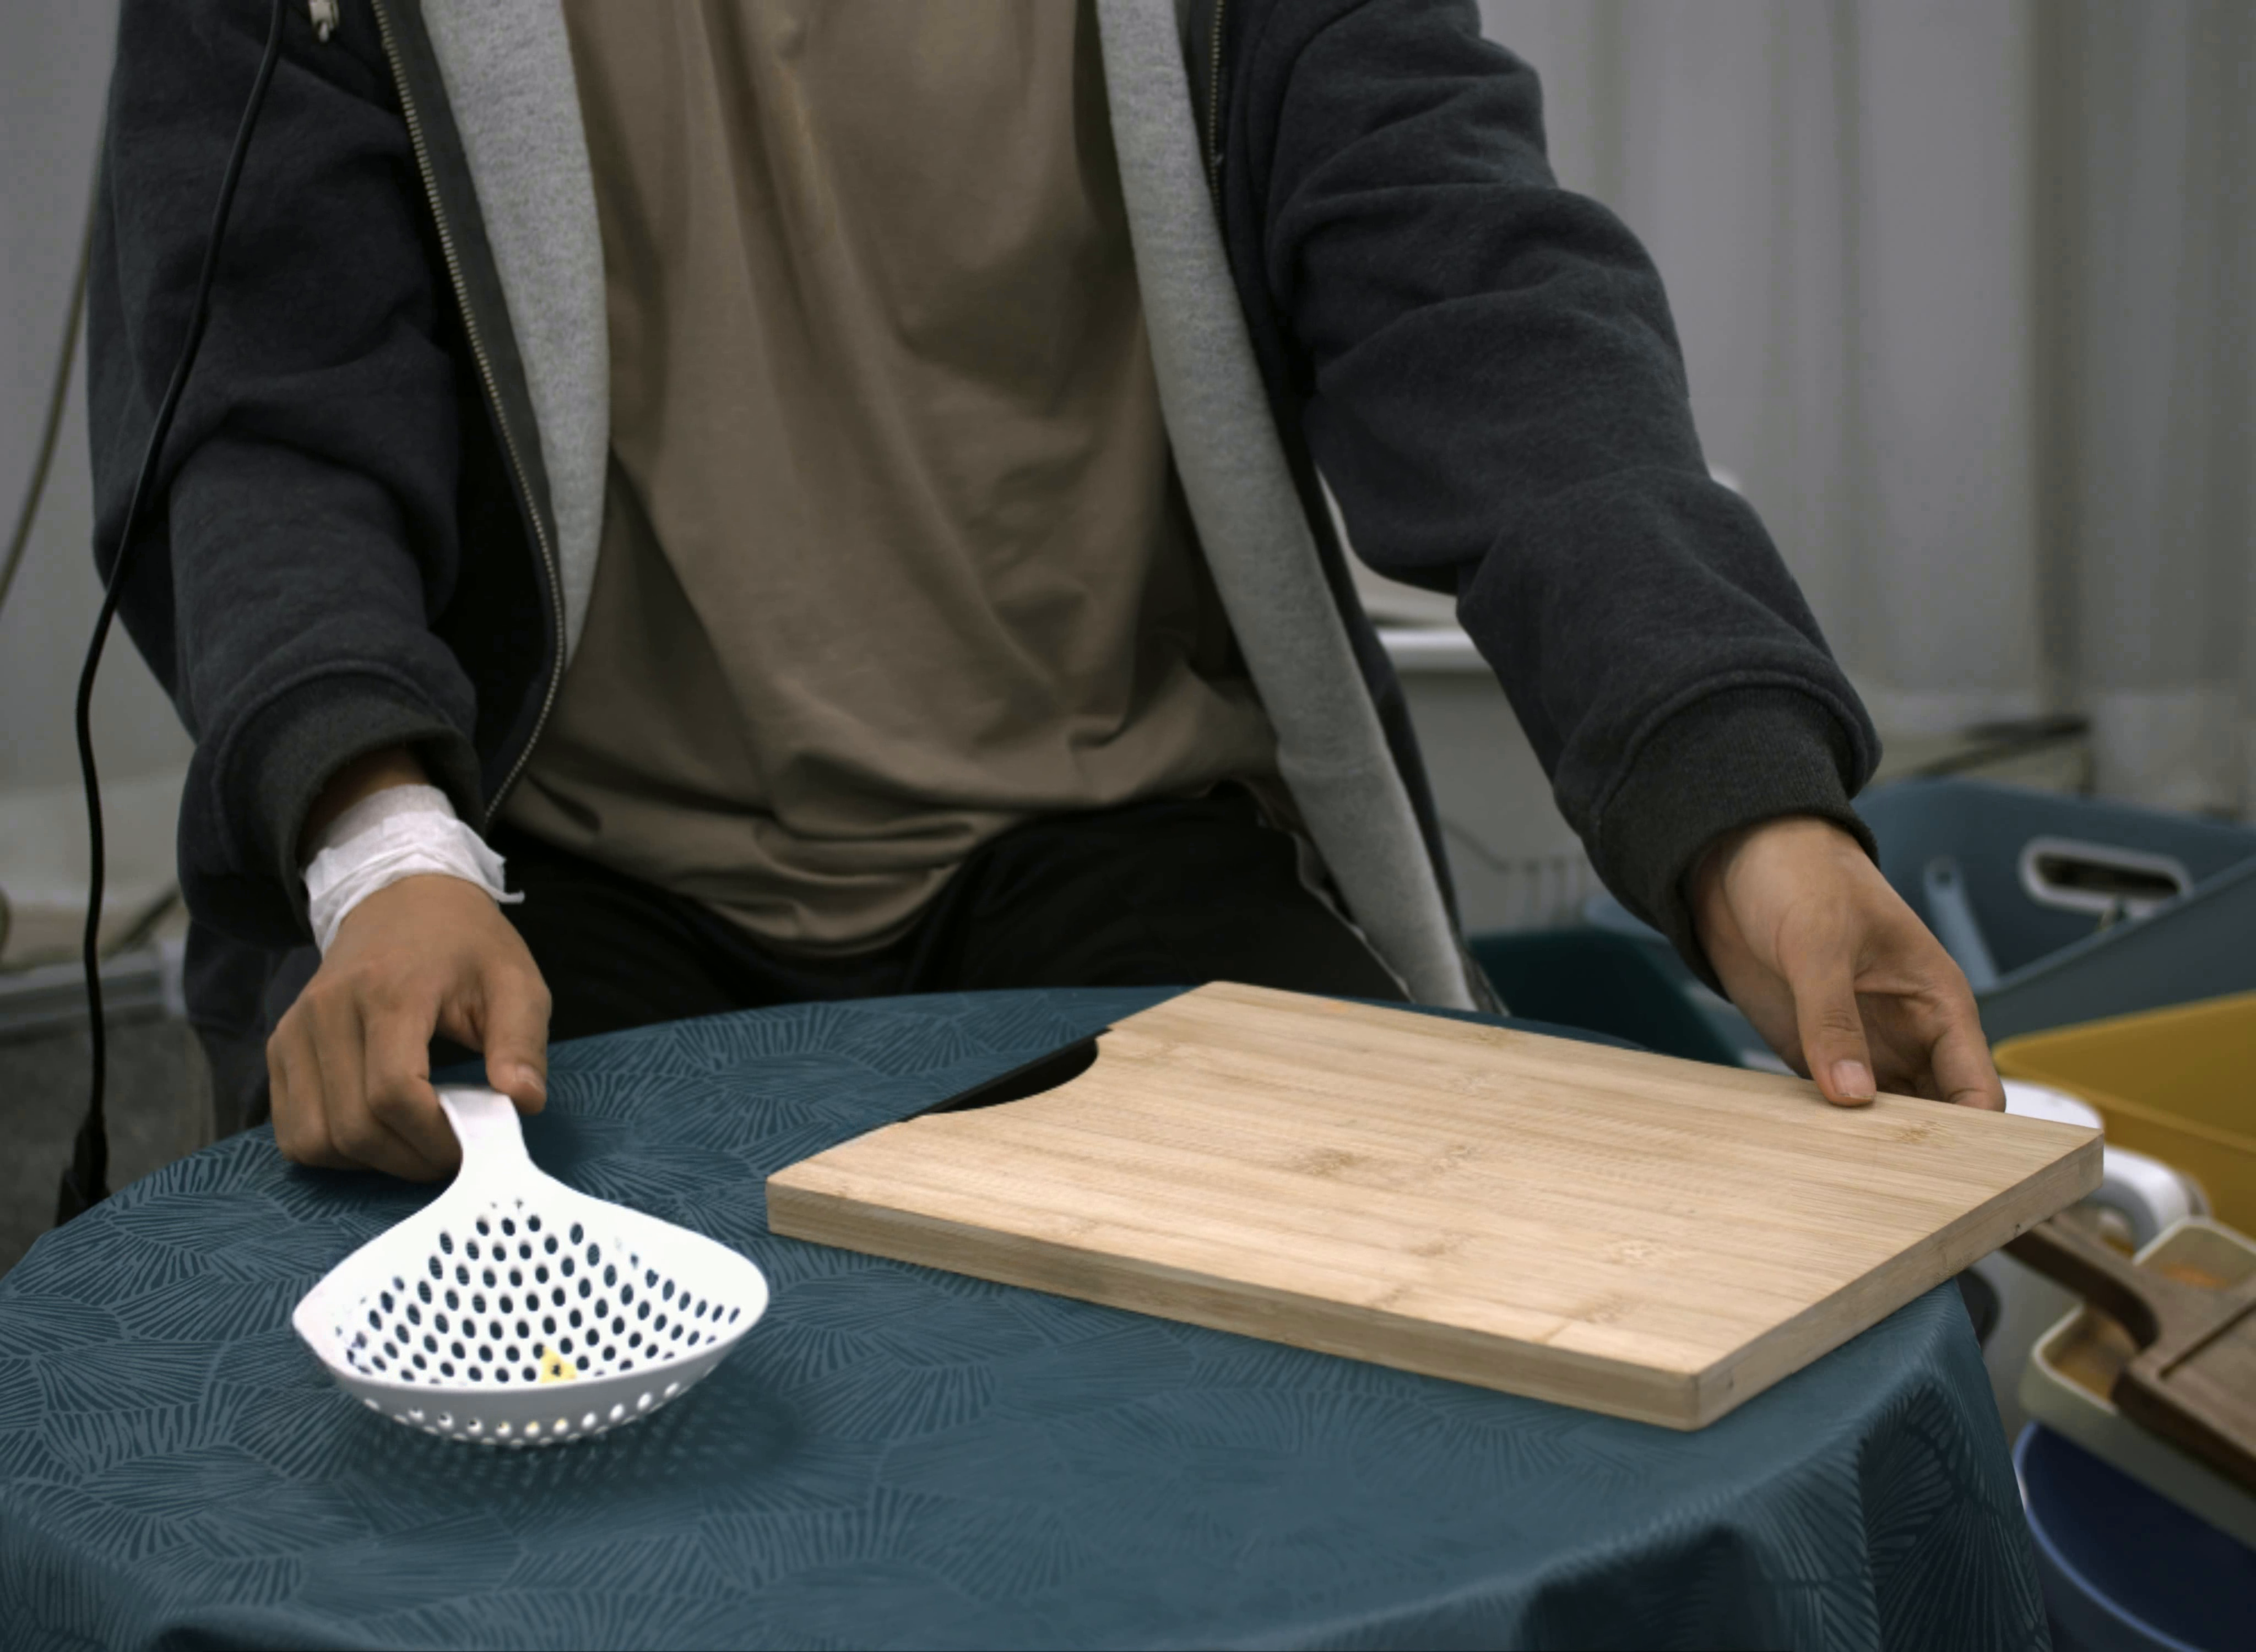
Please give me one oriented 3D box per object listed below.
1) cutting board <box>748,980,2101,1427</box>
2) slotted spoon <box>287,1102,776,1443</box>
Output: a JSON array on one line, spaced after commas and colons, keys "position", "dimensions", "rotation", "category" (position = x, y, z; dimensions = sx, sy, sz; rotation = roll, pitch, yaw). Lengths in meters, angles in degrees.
[{"position": [0.089, 0.110, 1.685], "dimensions": [0.350, 0.023, 0.250], "rotation": [8, 18, 36], "category": "cutting board"}, {"position": [-0.189, 0.119, 1.642], "dimensions": [0.136, 0.050, 0.351], "rotation": [-7, 17, -11], "category": "slotted spoon"}]
